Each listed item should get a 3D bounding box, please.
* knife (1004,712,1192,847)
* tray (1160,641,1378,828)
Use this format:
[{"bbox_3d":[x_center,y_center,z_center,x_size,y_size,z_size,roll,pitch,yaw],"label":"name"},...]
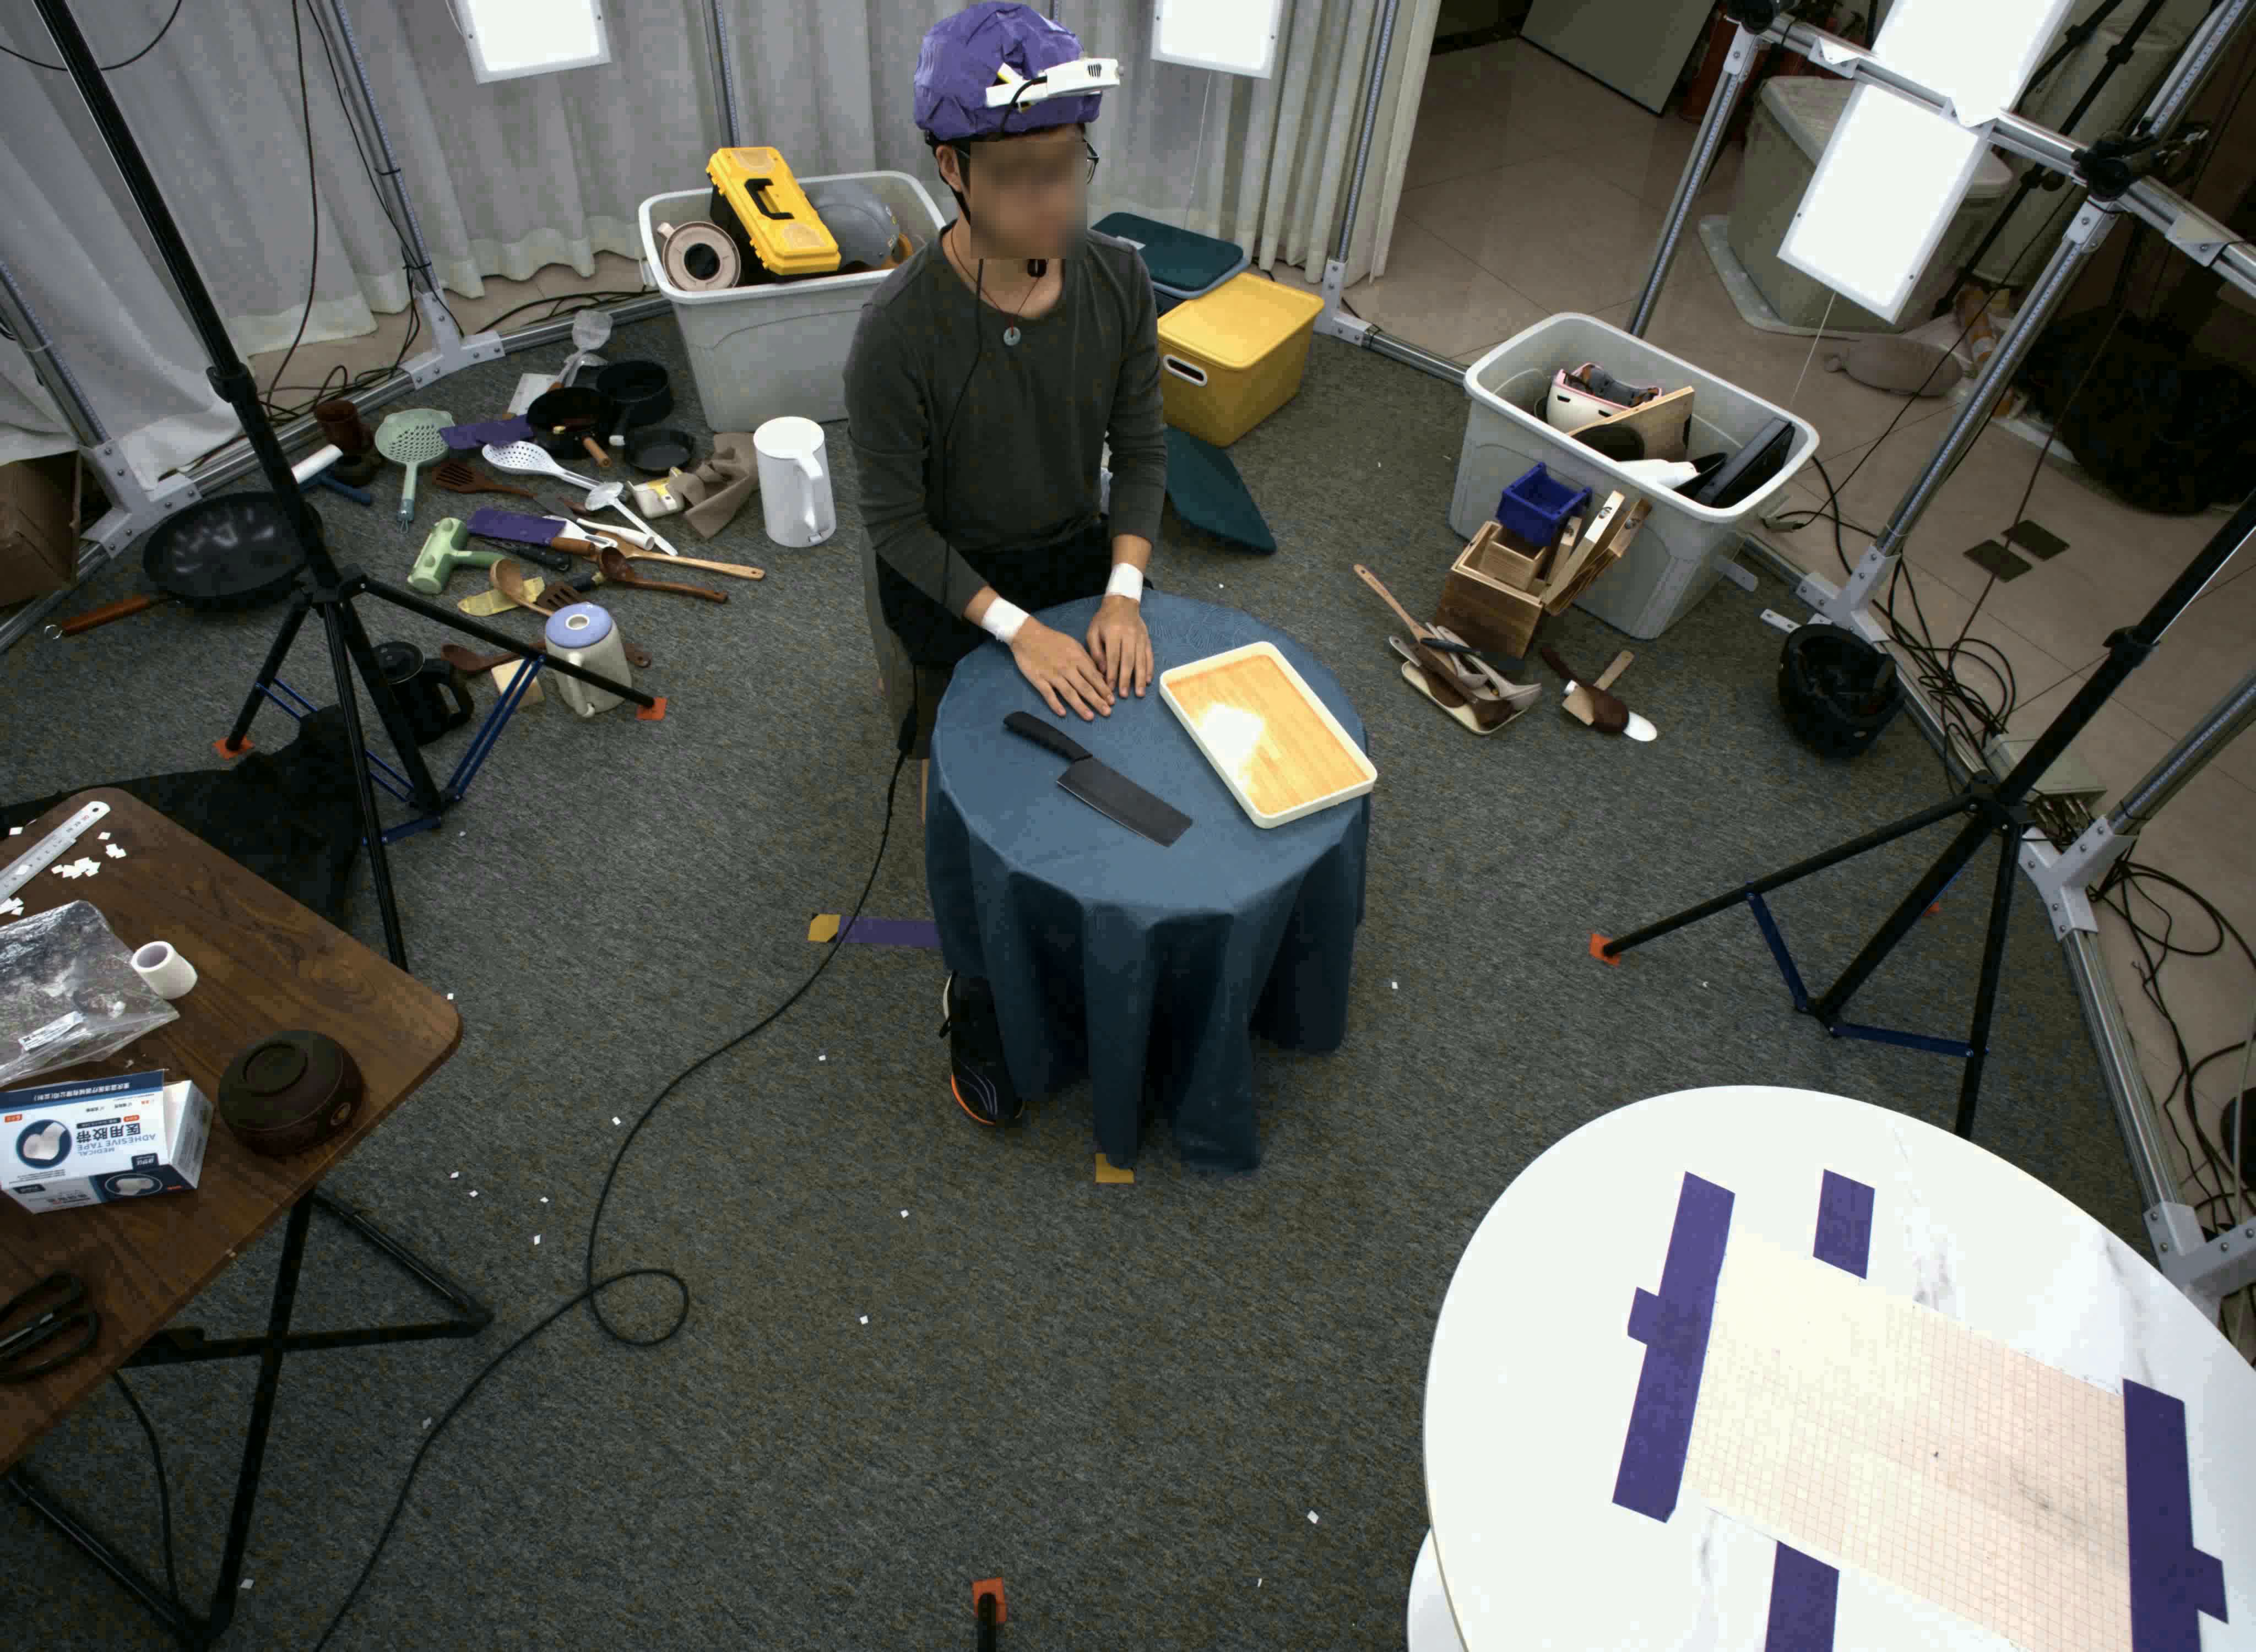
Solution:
[{"bbox_3d":[-0.049,-0.067,1.713,0.306,0.020,0.082,37,57,23],"label":"knife"},{"bbox_3d":[0.190,-0.133,1.778,0.192,0.027,0.307,-19,53,-19],"label":"tray"}]
